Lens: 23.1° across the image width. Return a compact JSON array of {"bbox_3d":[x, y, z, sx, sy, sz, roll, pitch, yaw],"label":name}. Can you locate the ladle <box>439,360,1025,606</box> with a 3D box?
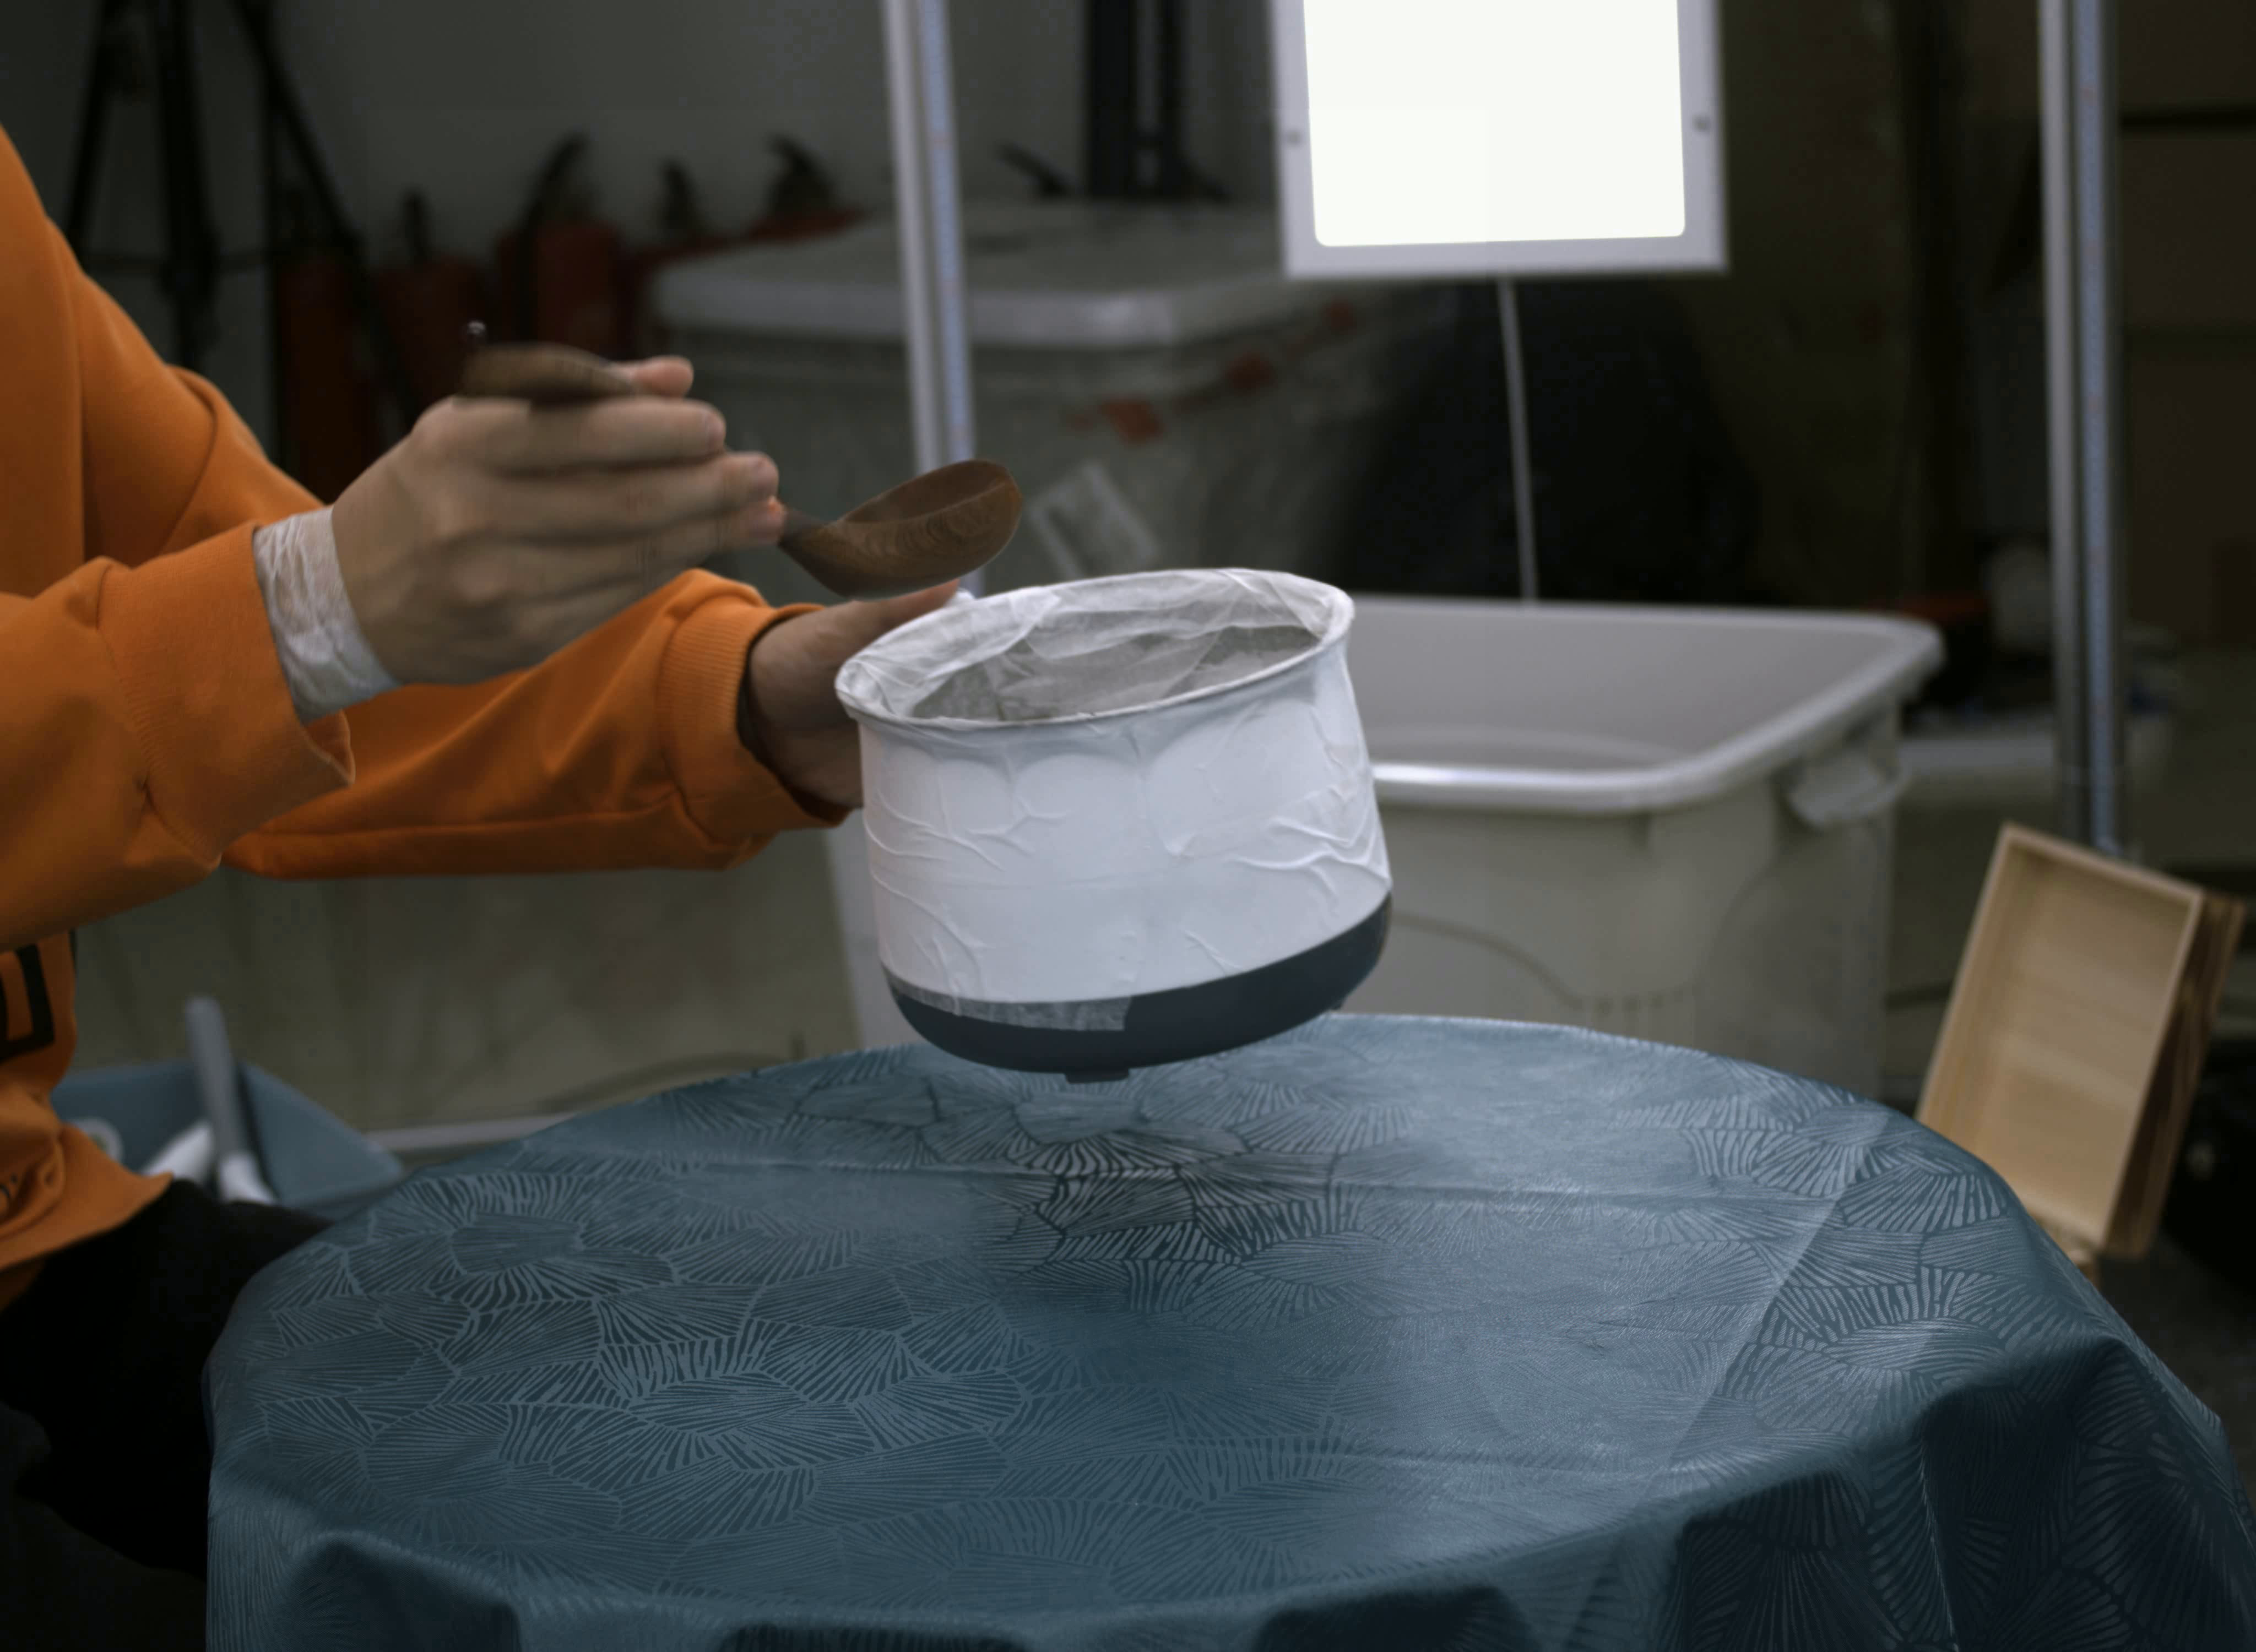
[{"bbox_3d":[-0.124,-0.120,1.708,0.078,0.065,0.254,-20,-25,31],"label":"ladle"}]

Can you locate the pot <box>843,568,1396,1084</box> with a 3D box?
[{"bbox_3d":[-0.015,-0.006,1.887,0.175,0.137,0.238,-17,19,-27],"label":"pot"}]
